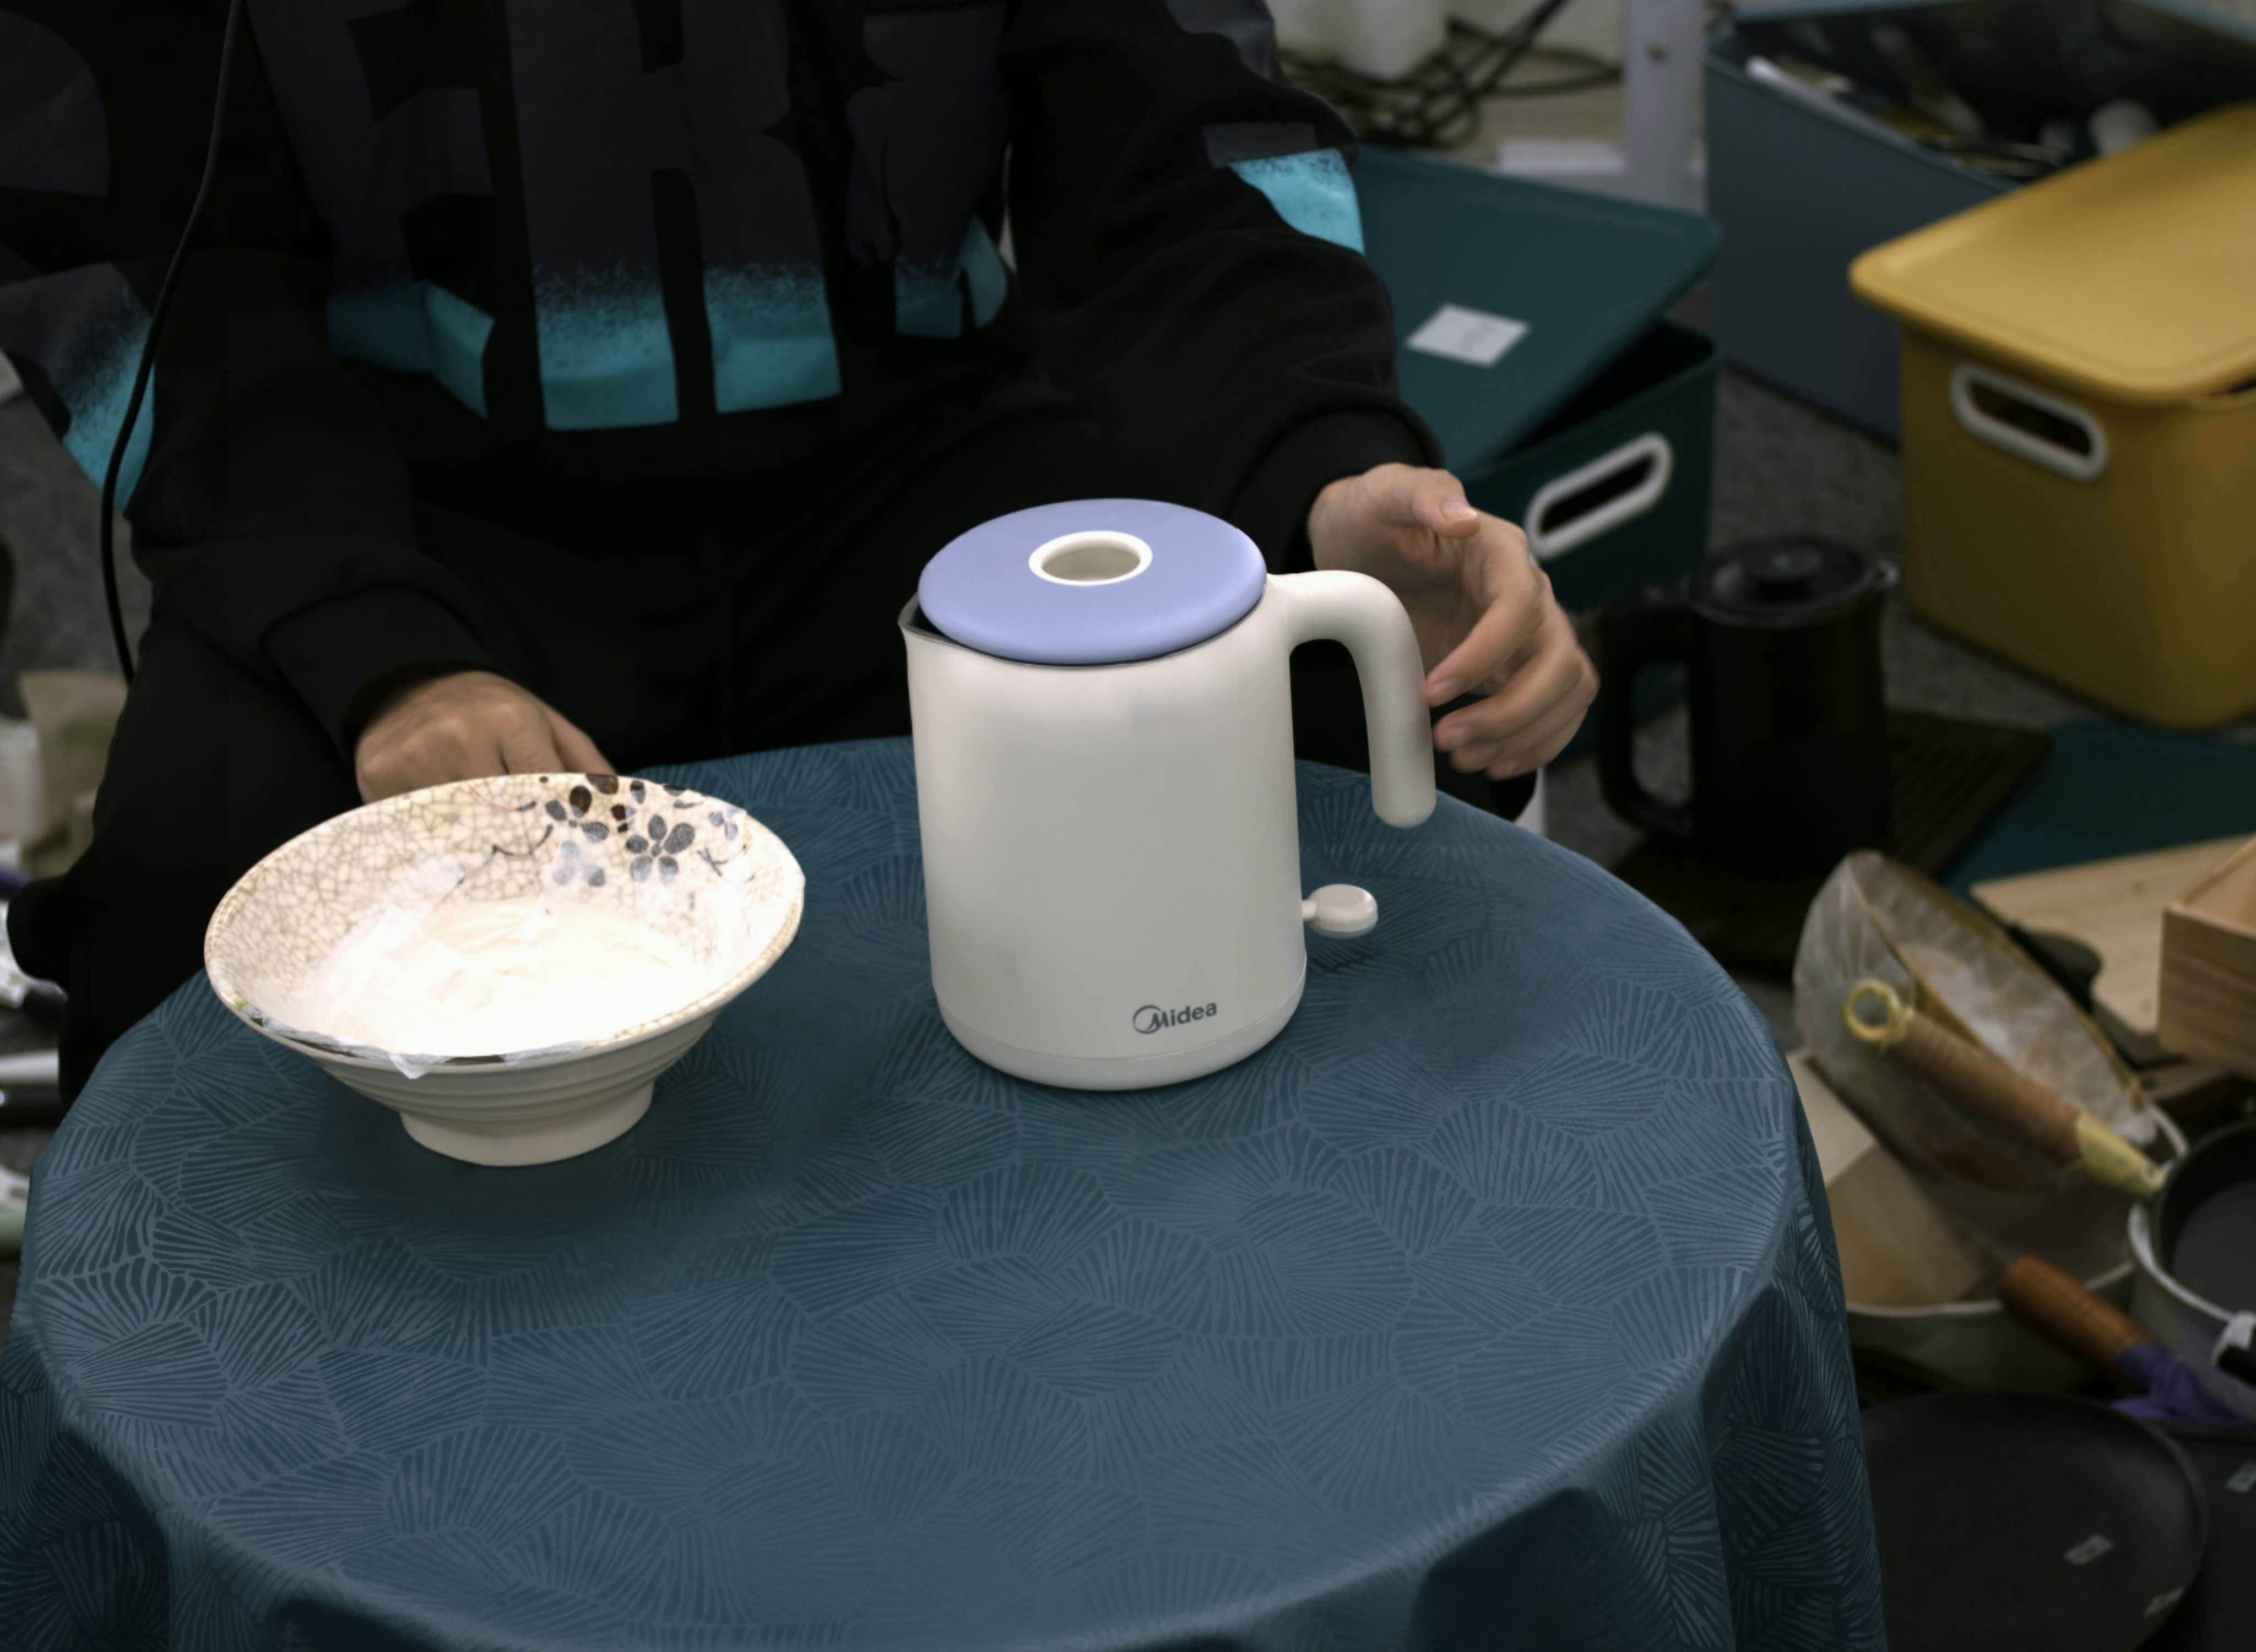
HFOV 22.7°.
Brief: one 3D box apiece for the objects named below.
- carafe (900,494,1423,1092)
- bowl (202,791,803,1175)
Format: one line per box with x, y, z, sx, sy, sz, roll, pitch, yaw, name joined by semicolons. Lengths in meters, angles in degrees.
0.014;-0.016;1.942;0.191;0.180;0.133;-10;28;-18;carafe
-0.209;0.065;1.910;0.203;0.077;0.207;-2;25;2;bowl
